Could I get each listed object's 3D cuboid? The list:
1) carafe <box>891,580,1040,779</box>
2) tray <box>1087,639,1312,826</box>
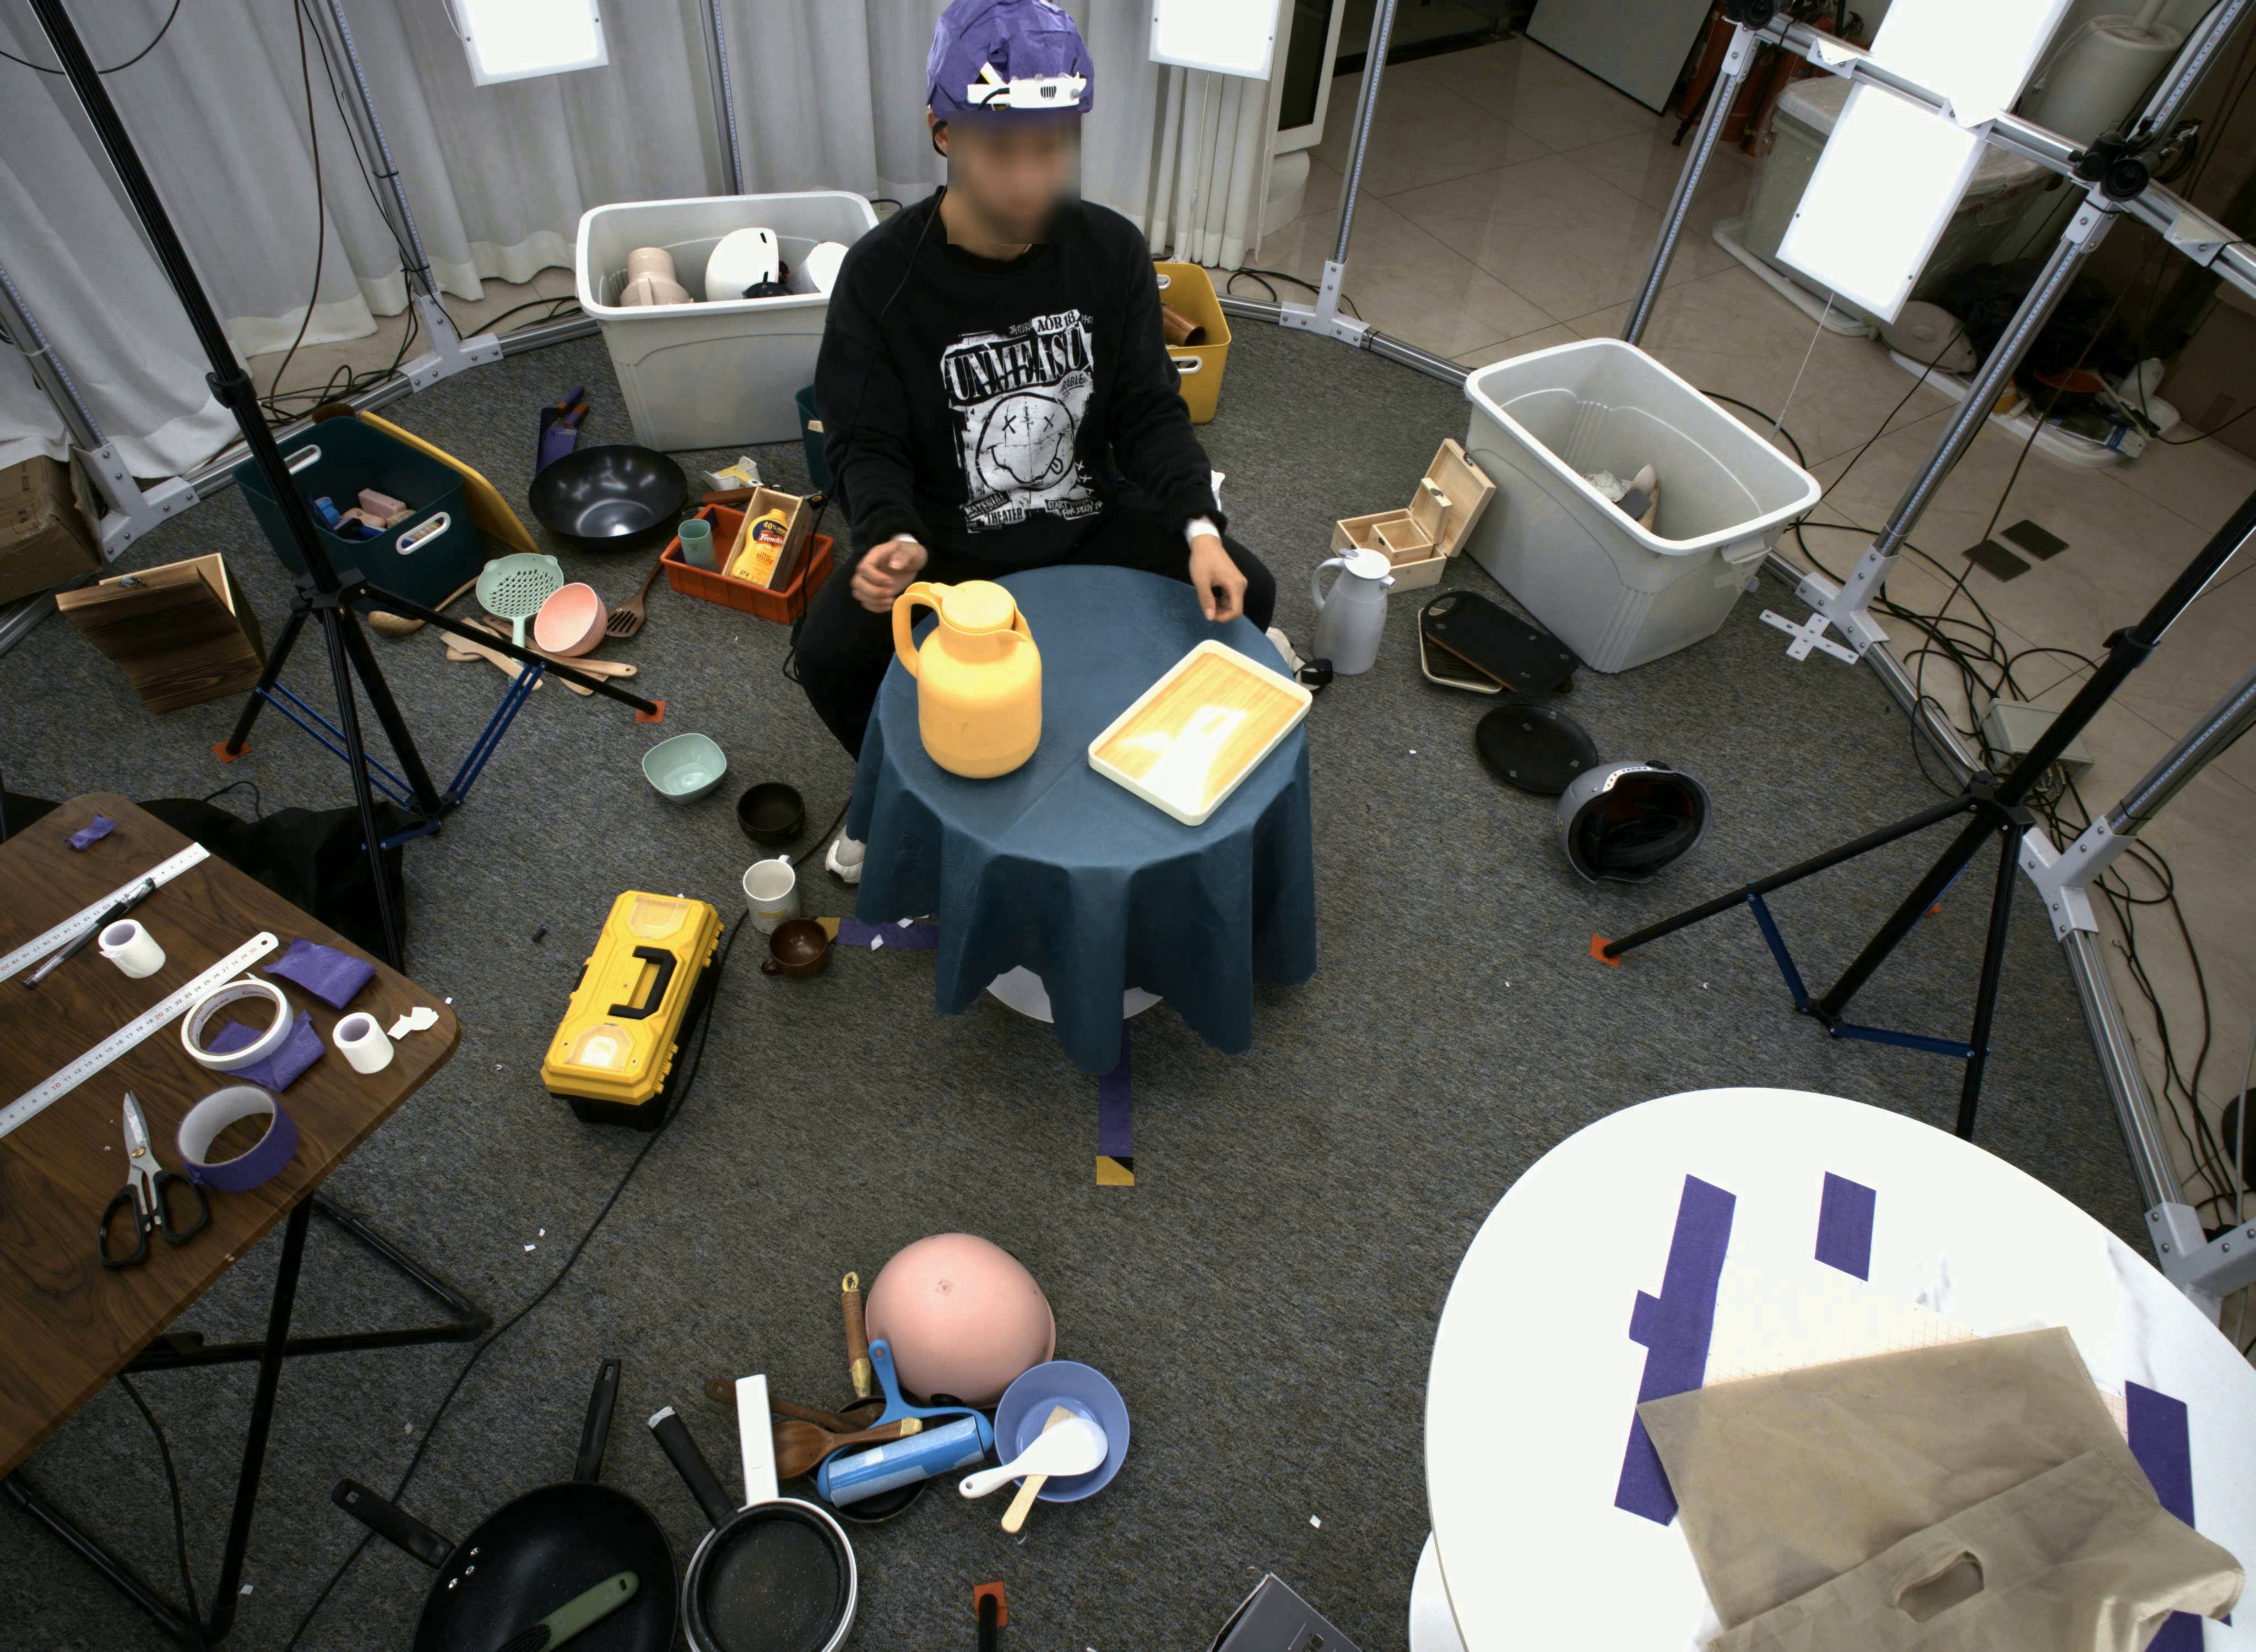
[{"bbox_3d":[-0.211,-0.202,1.663,0.204,0.254,0.166,26,50,15],"label":"carafe"},{"bbox_3d":[0.102,-0.136,1.776,0.194,0.027,0.304,31,54,21],"label":"tray"}]
